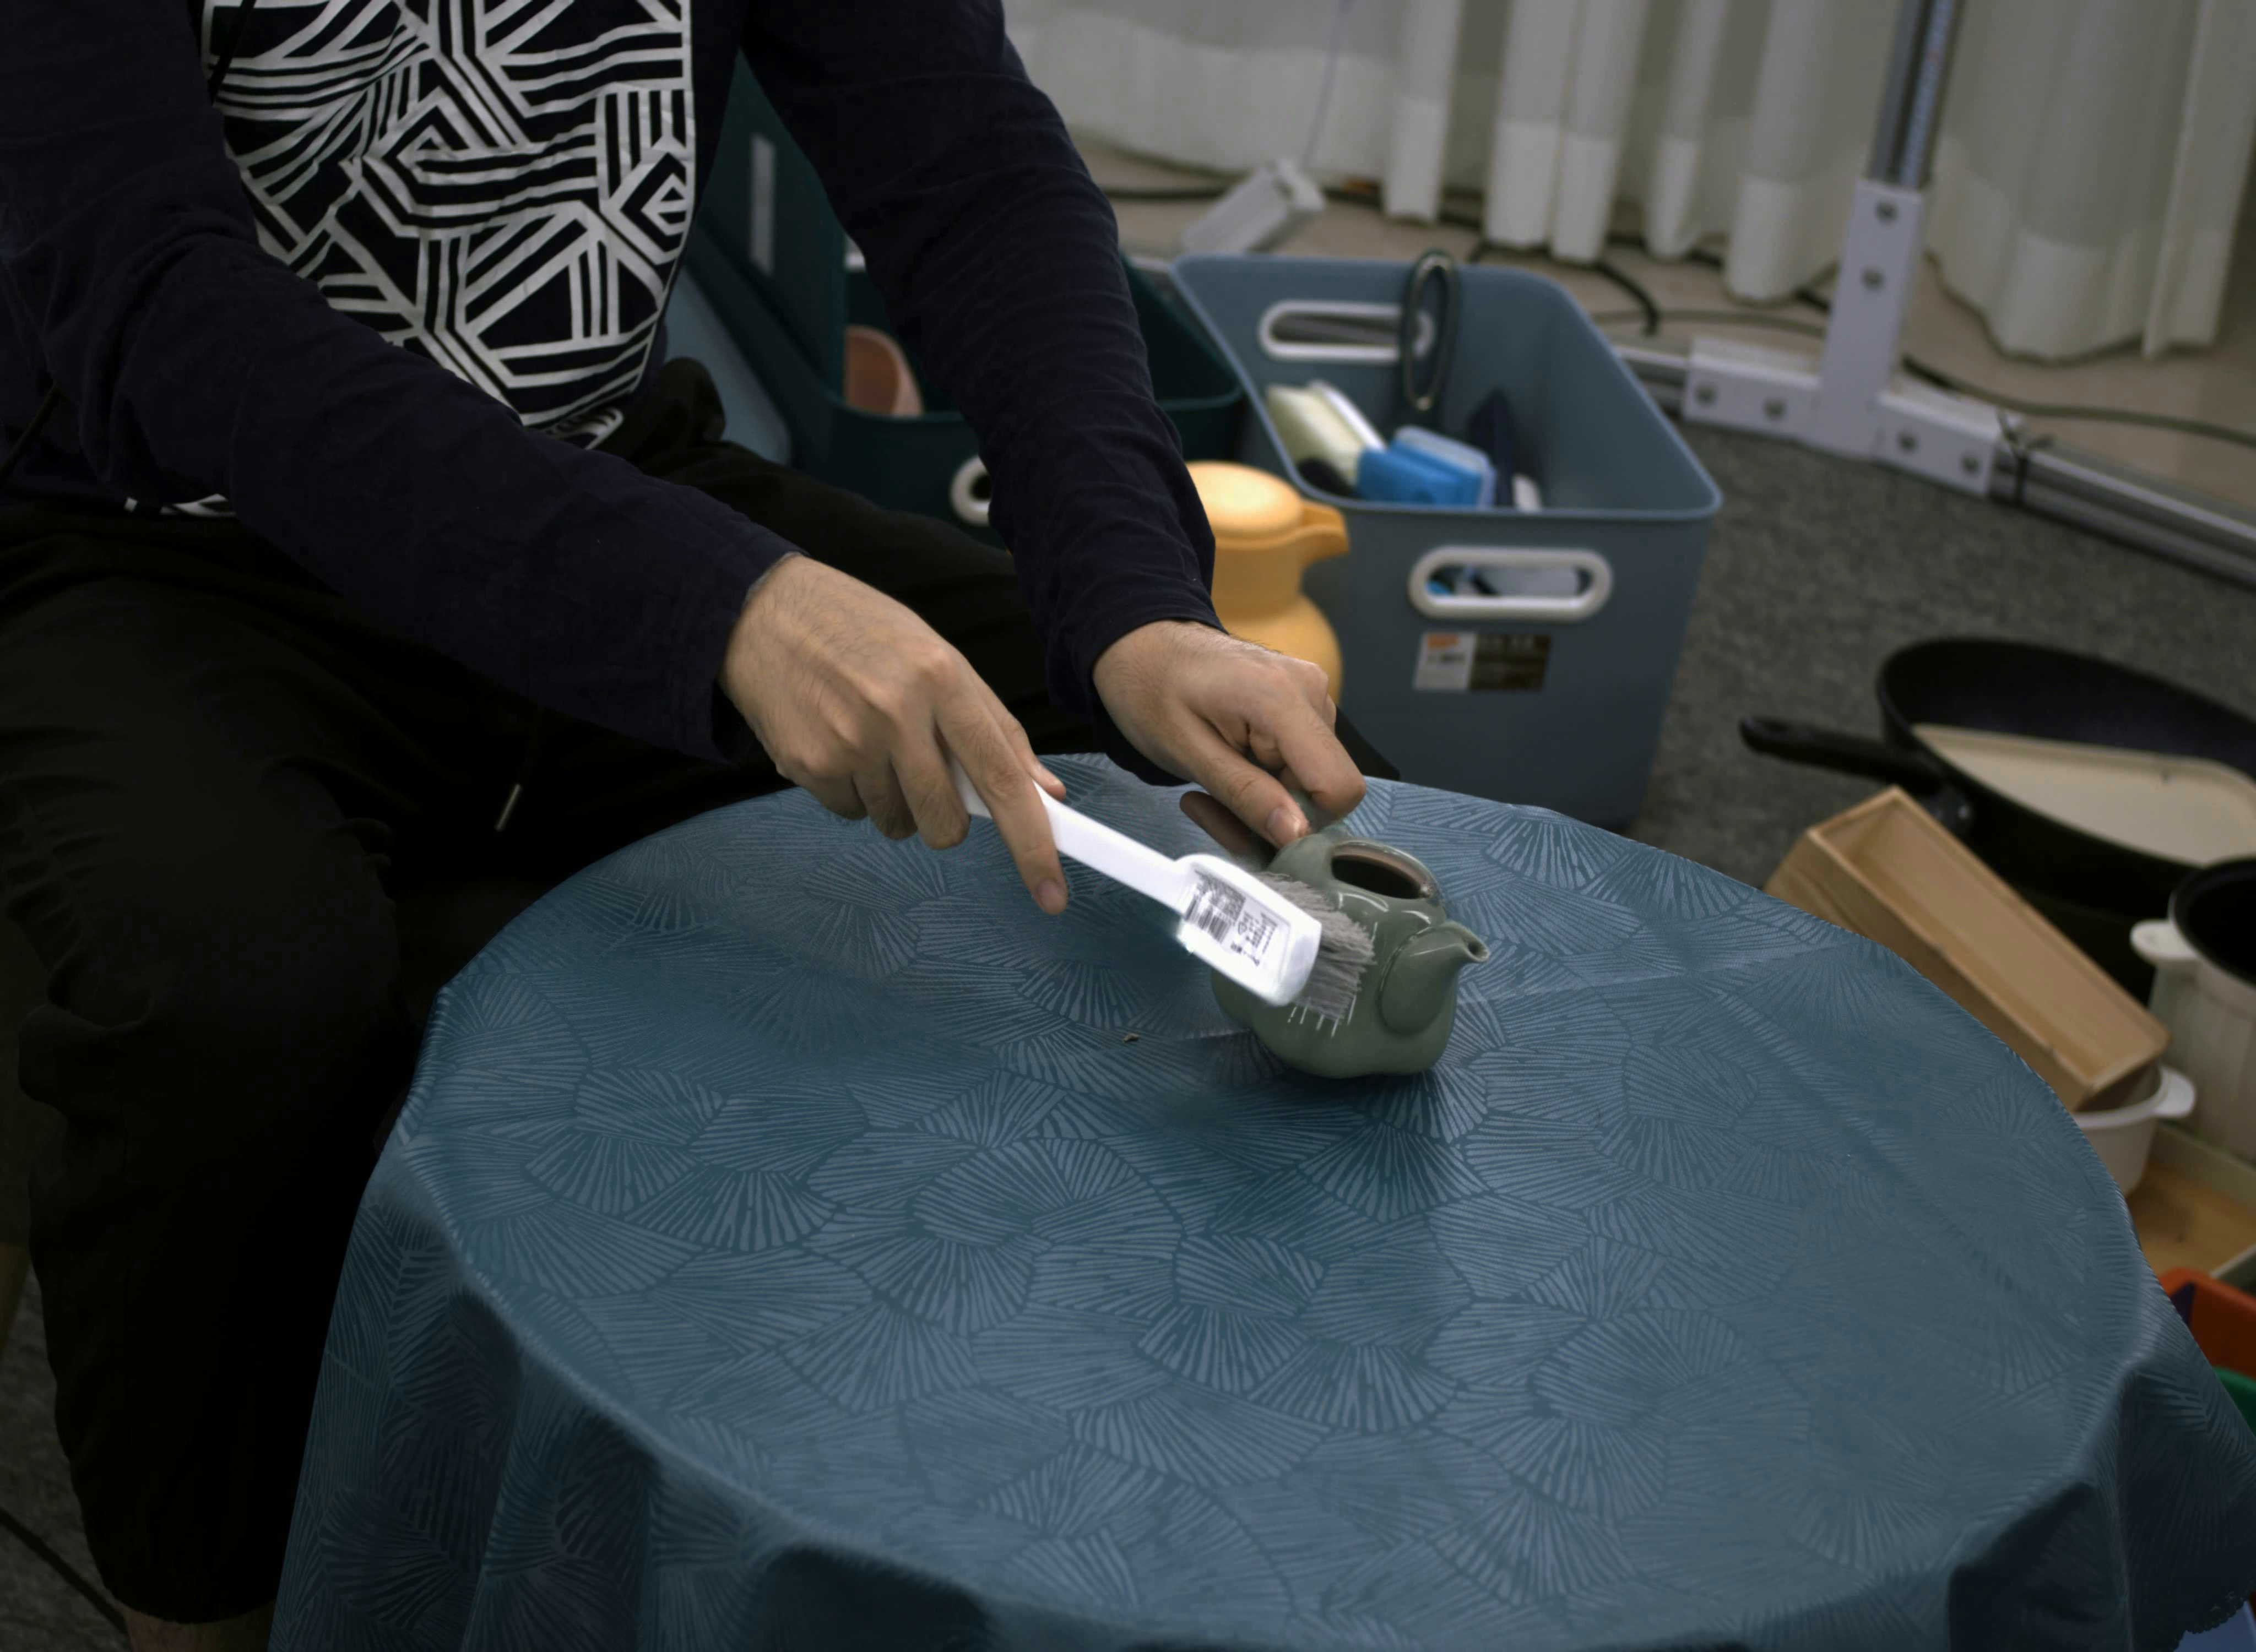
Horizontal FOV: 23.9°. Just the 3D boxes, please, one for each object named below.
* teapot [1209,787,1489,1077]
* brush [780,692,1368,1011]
[{"bbox_3d":[0.078,0.044,1.892,0.079,0.075,0.133,0,26,-38],"label":"teapot"},{"bbox_3d":[-0.020,0.005,1.885,0.245,0.034,0.050,26,14,30],"label":"brush"}]
